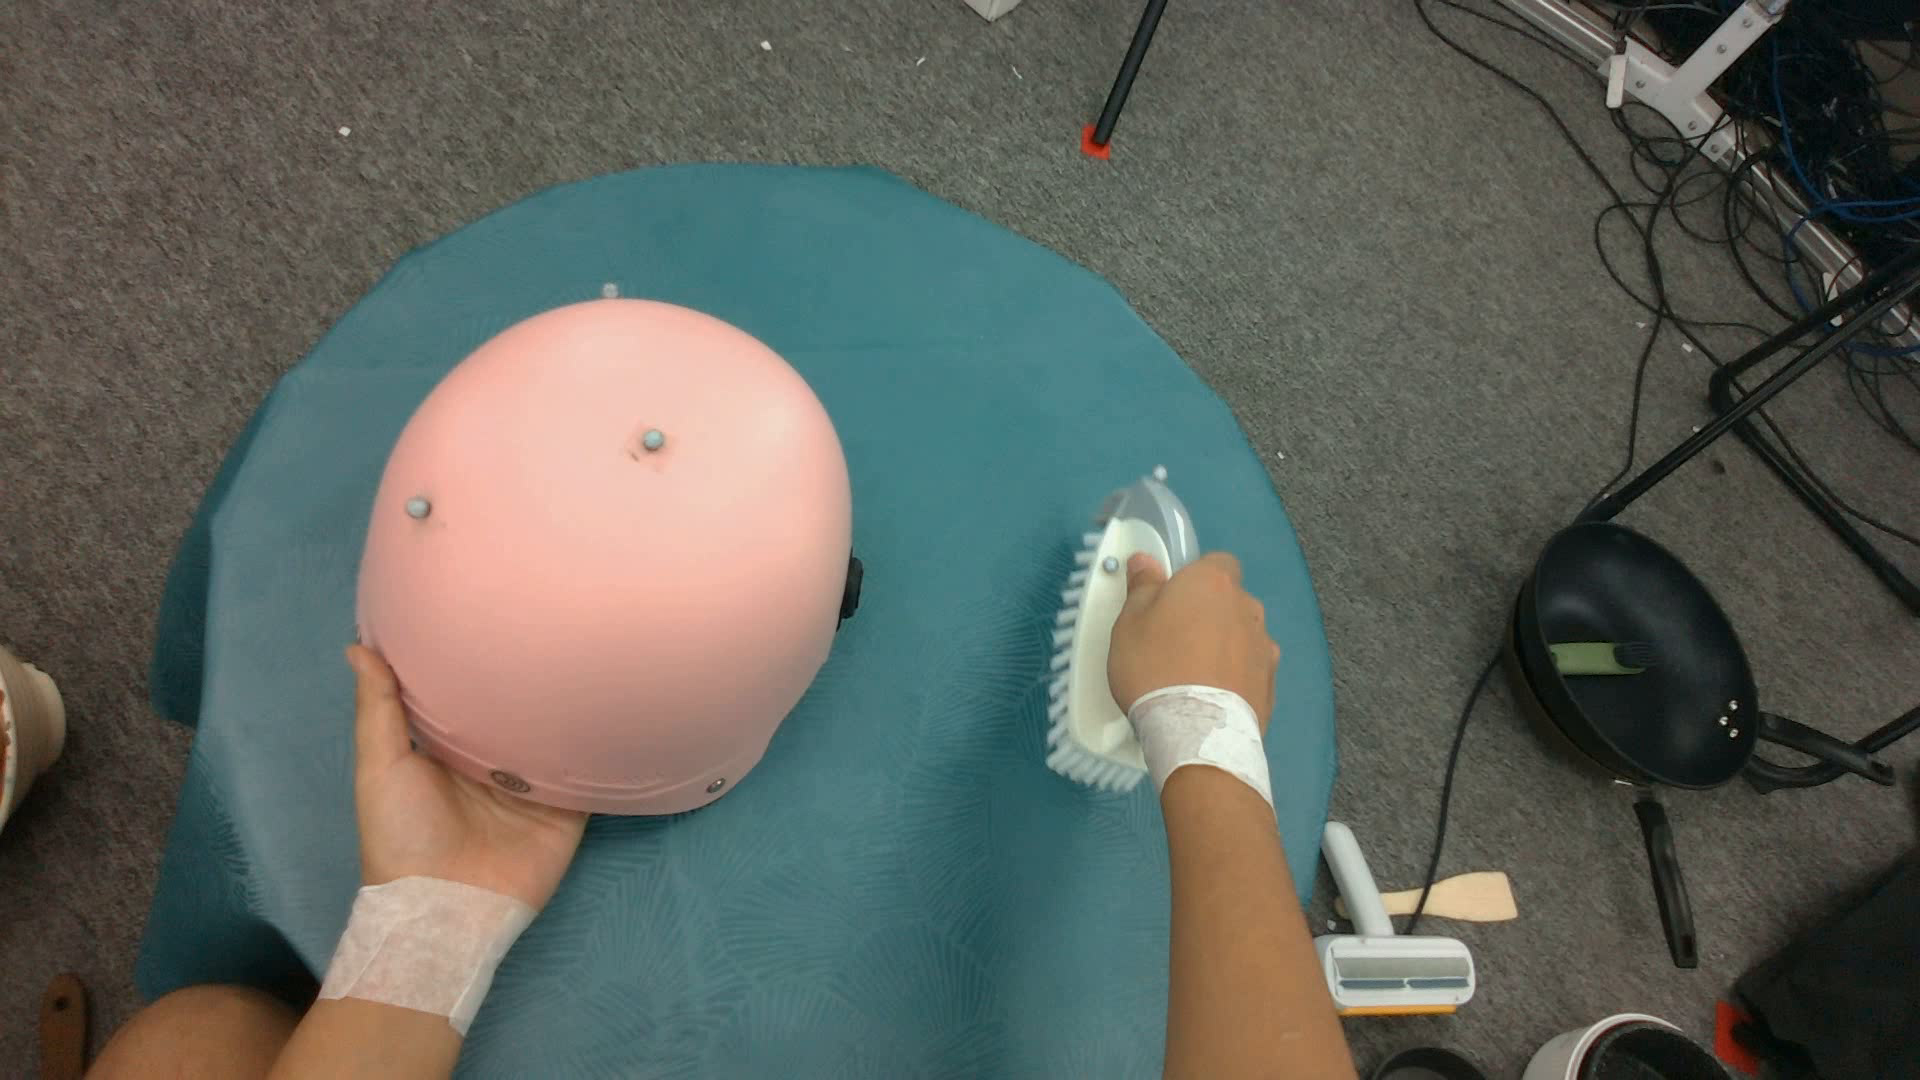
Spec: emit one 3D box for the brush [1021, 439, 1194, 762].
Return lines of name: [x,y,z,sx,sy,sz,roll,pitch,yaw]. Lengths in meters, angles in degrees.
brush: [0.079,0.016,0.695,0.061,0.094,0.176,22,57,-24]

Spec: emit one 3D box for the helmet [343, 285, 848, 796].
helmet: [-0.157,-0.026,0.640,0.234,0.158,0.267,22,52,-7]
